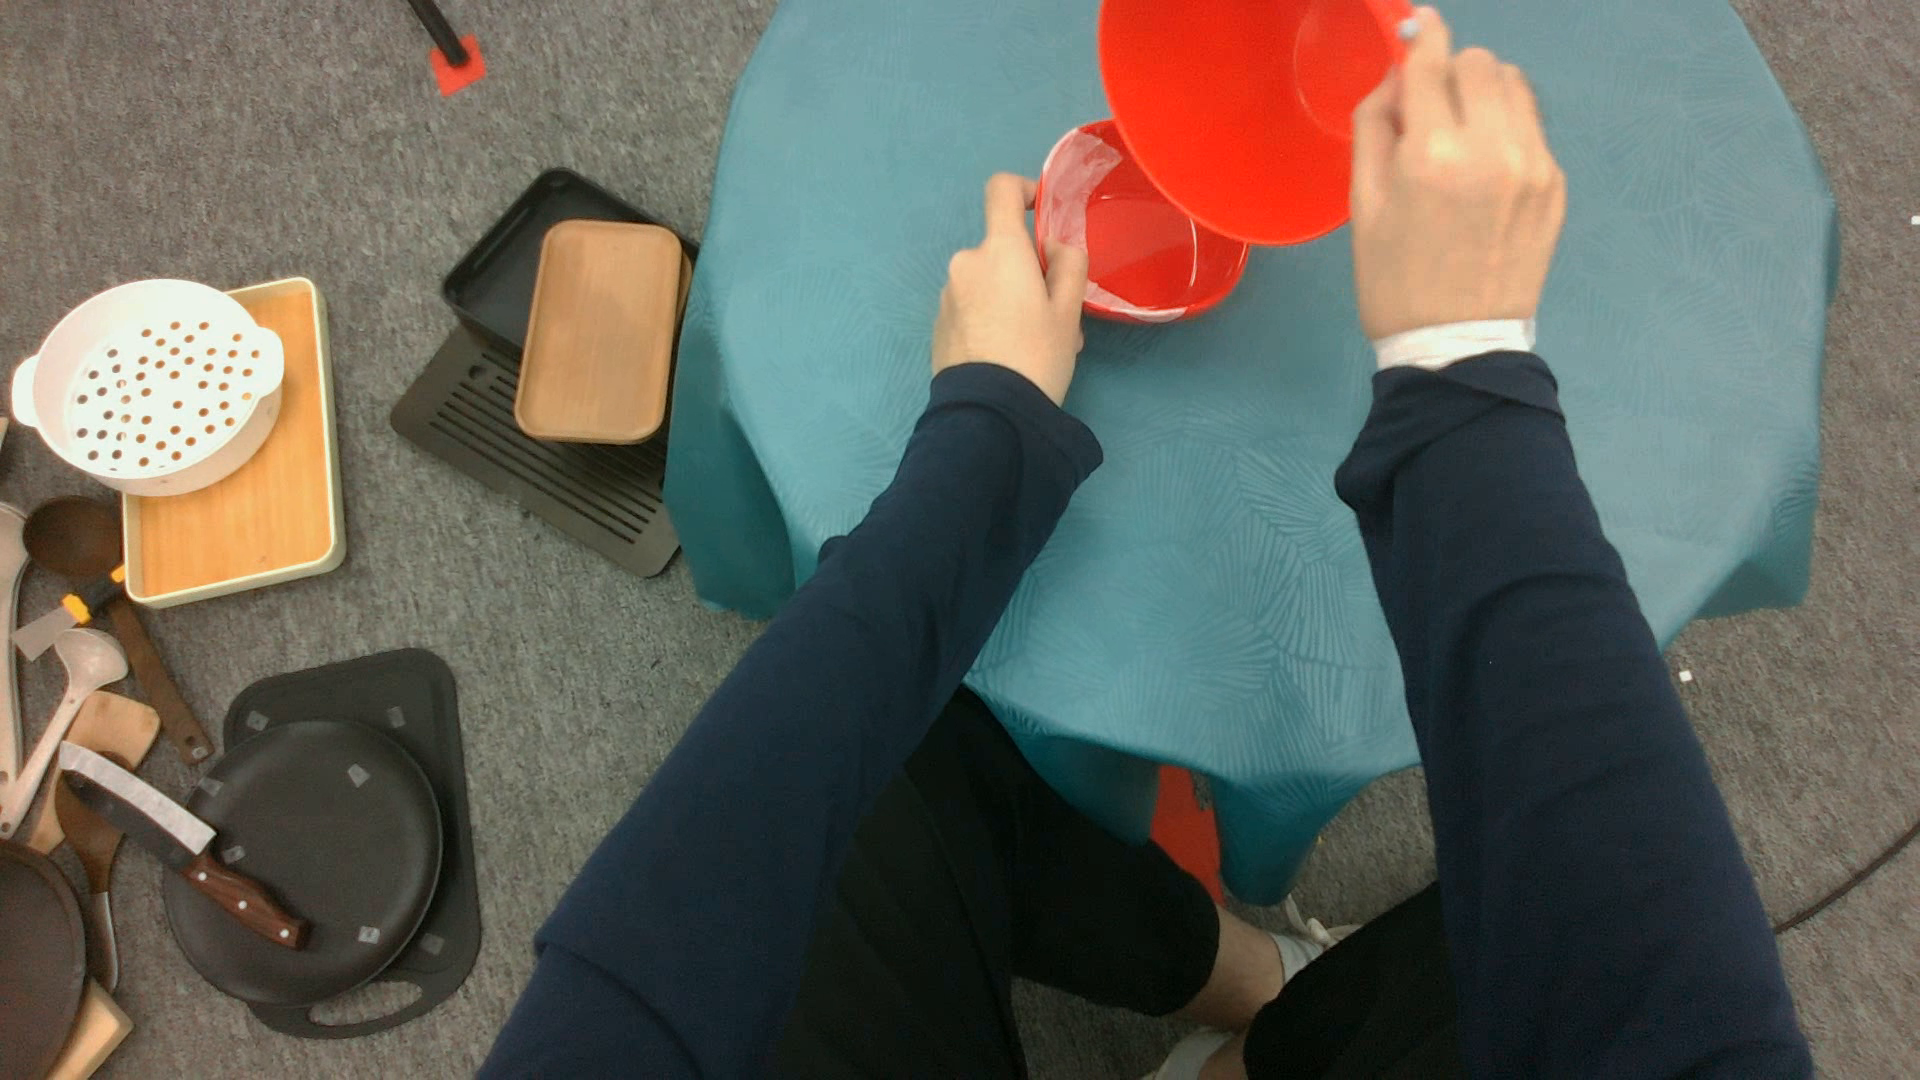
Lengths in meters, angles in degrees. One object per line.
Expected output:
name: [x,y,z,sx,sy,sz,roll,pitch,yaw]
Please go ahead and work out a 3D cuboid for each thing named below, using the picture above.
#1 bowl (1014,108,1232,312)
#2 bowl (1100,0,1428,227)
bowl: [0.082,-0.163,0.717,0.119,0.051,0.119,0,74,-1]
bowl: [0.148,-0.218,0.611,0.105,0.147,0.148,-28,72,-44]
